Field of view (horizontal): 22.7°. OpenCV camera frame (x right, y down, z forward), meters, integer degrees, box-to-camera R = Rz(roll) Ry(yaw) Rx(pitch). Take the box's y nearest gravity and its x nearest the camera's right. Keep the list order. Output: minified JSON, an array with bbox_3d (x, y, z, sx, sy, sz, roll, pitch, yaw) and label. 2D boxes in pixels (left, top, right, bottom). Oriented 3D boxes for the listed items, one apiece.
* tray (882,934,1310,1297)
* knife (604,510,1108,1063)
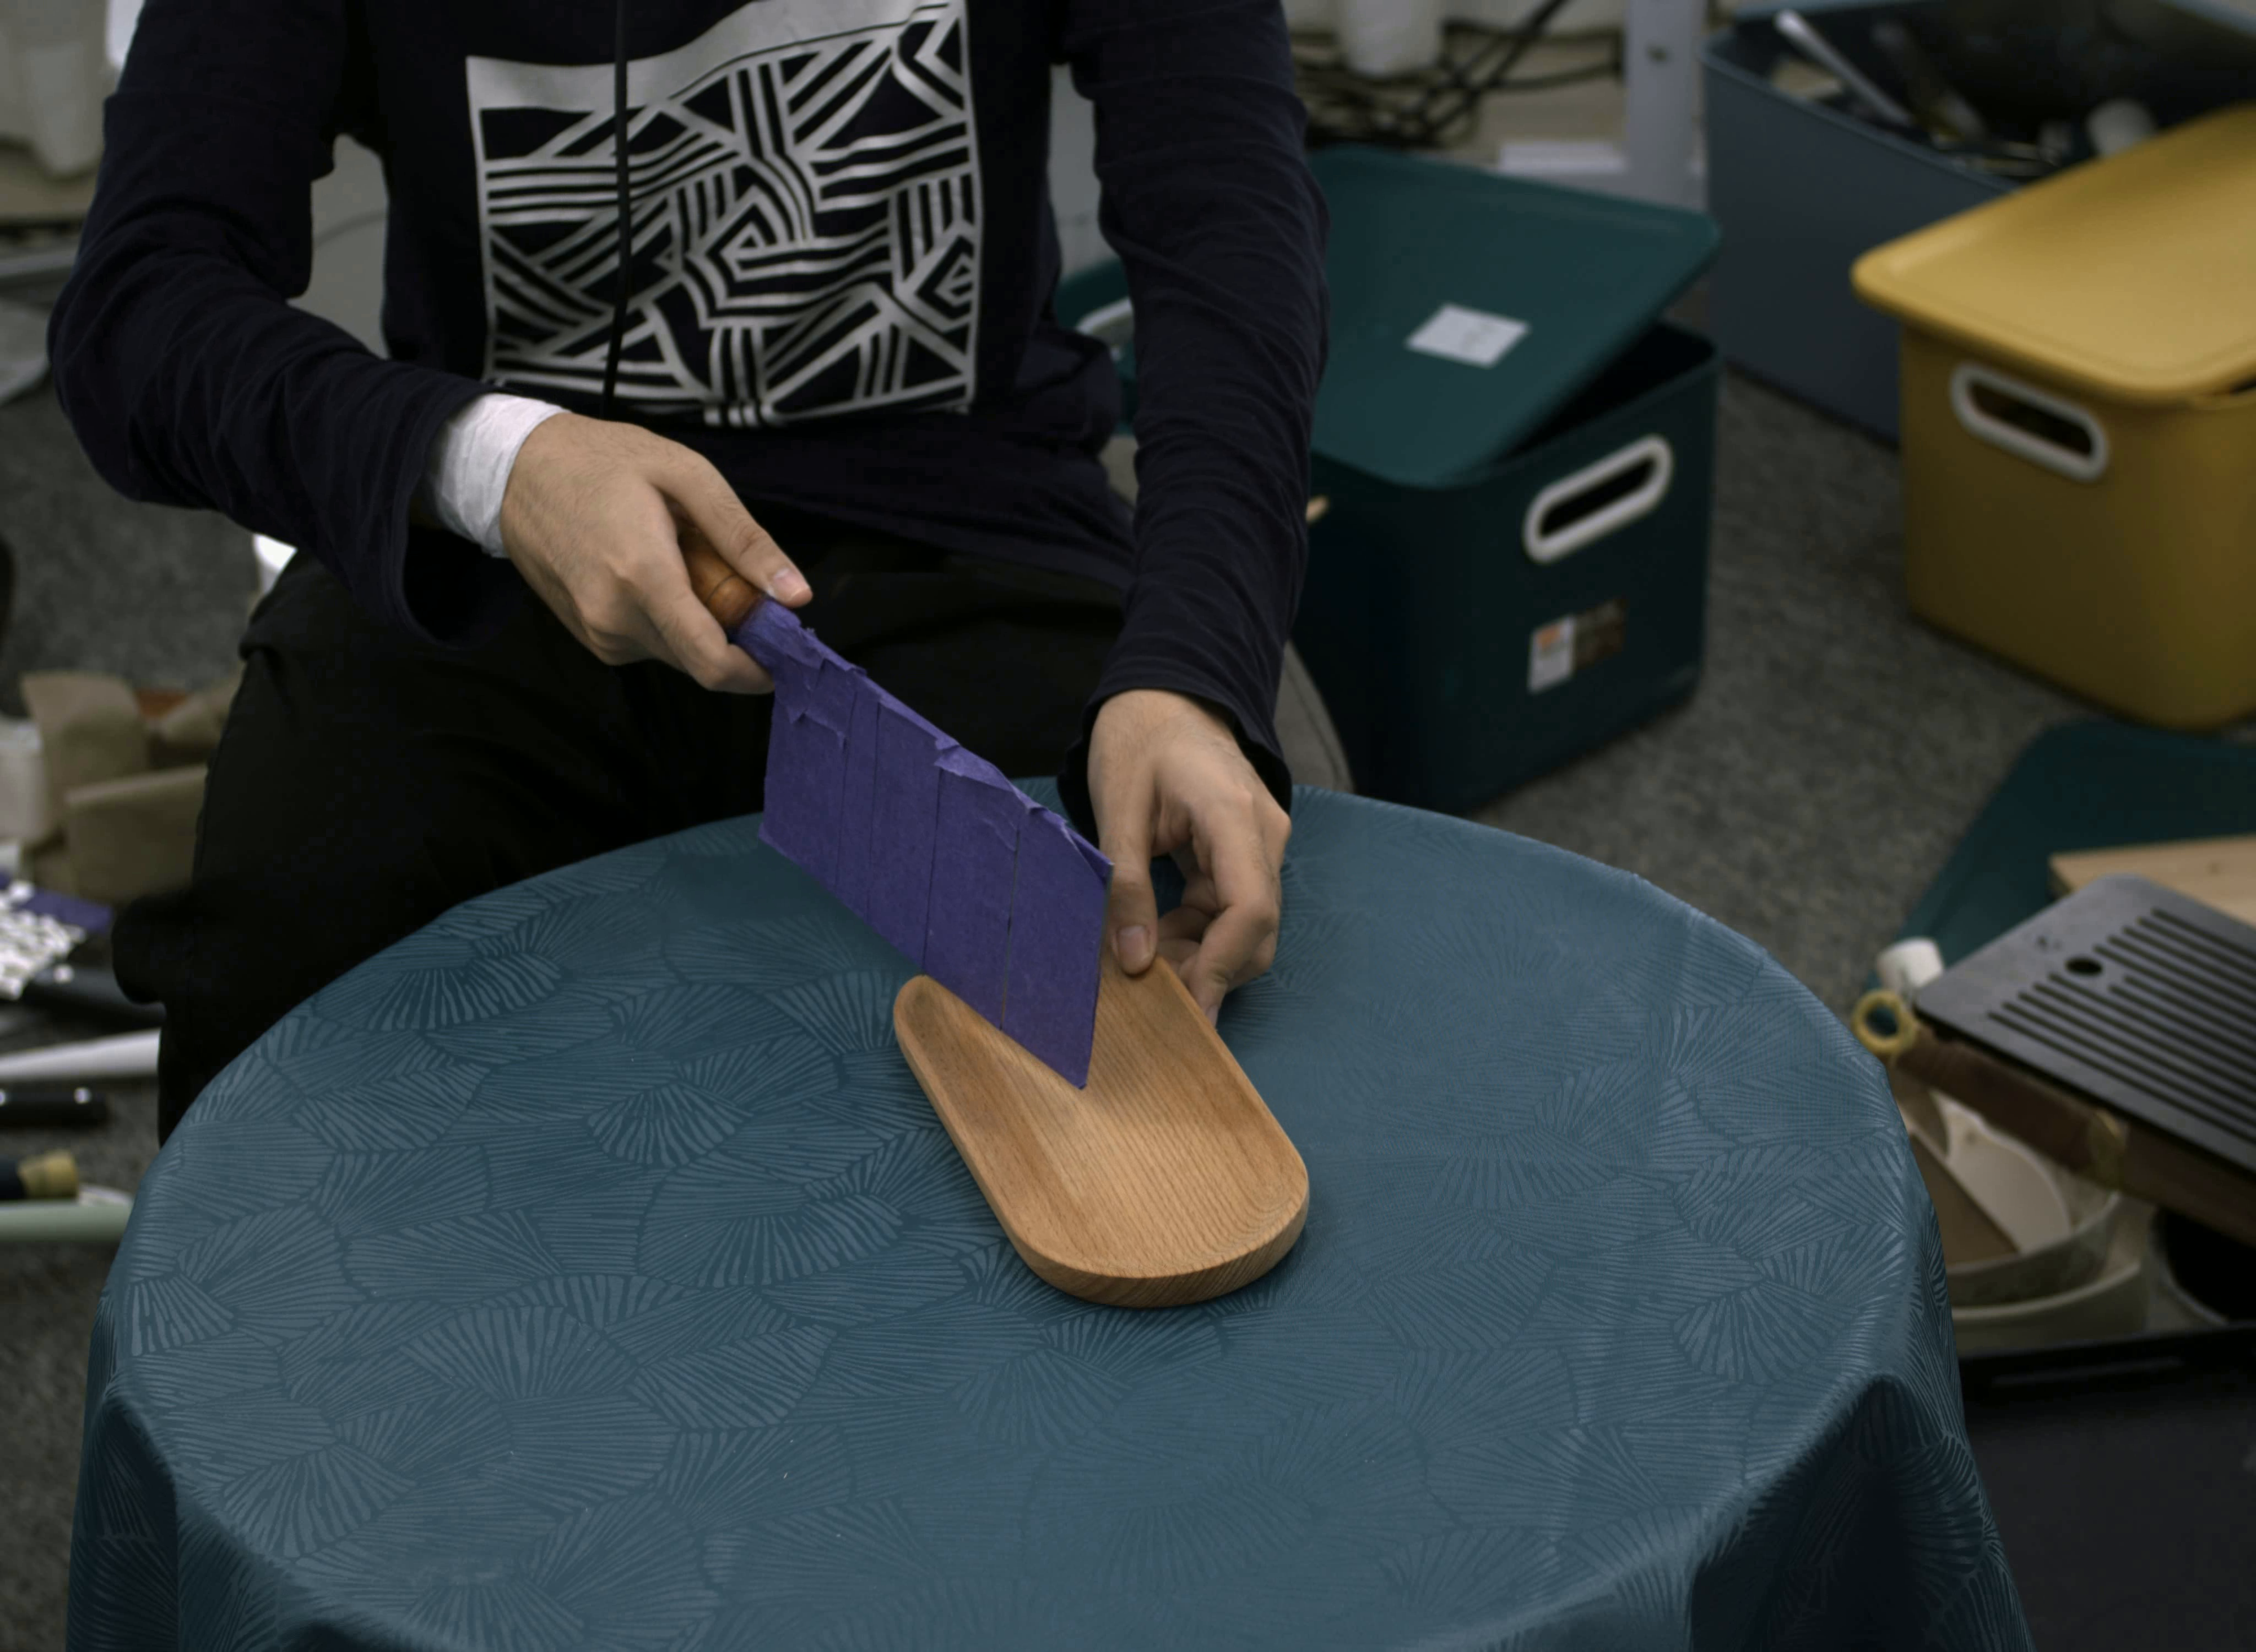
[{"bbox_3d":[-0.012,0.095,1.893,0.102,0.020,0.233,-13,28,-15],"label":"tray"},{"bbox_3d":[-0.101,-0.014,1.983,0.032,0.103,0.316,-8,28,-33],"label":"knife"}]
